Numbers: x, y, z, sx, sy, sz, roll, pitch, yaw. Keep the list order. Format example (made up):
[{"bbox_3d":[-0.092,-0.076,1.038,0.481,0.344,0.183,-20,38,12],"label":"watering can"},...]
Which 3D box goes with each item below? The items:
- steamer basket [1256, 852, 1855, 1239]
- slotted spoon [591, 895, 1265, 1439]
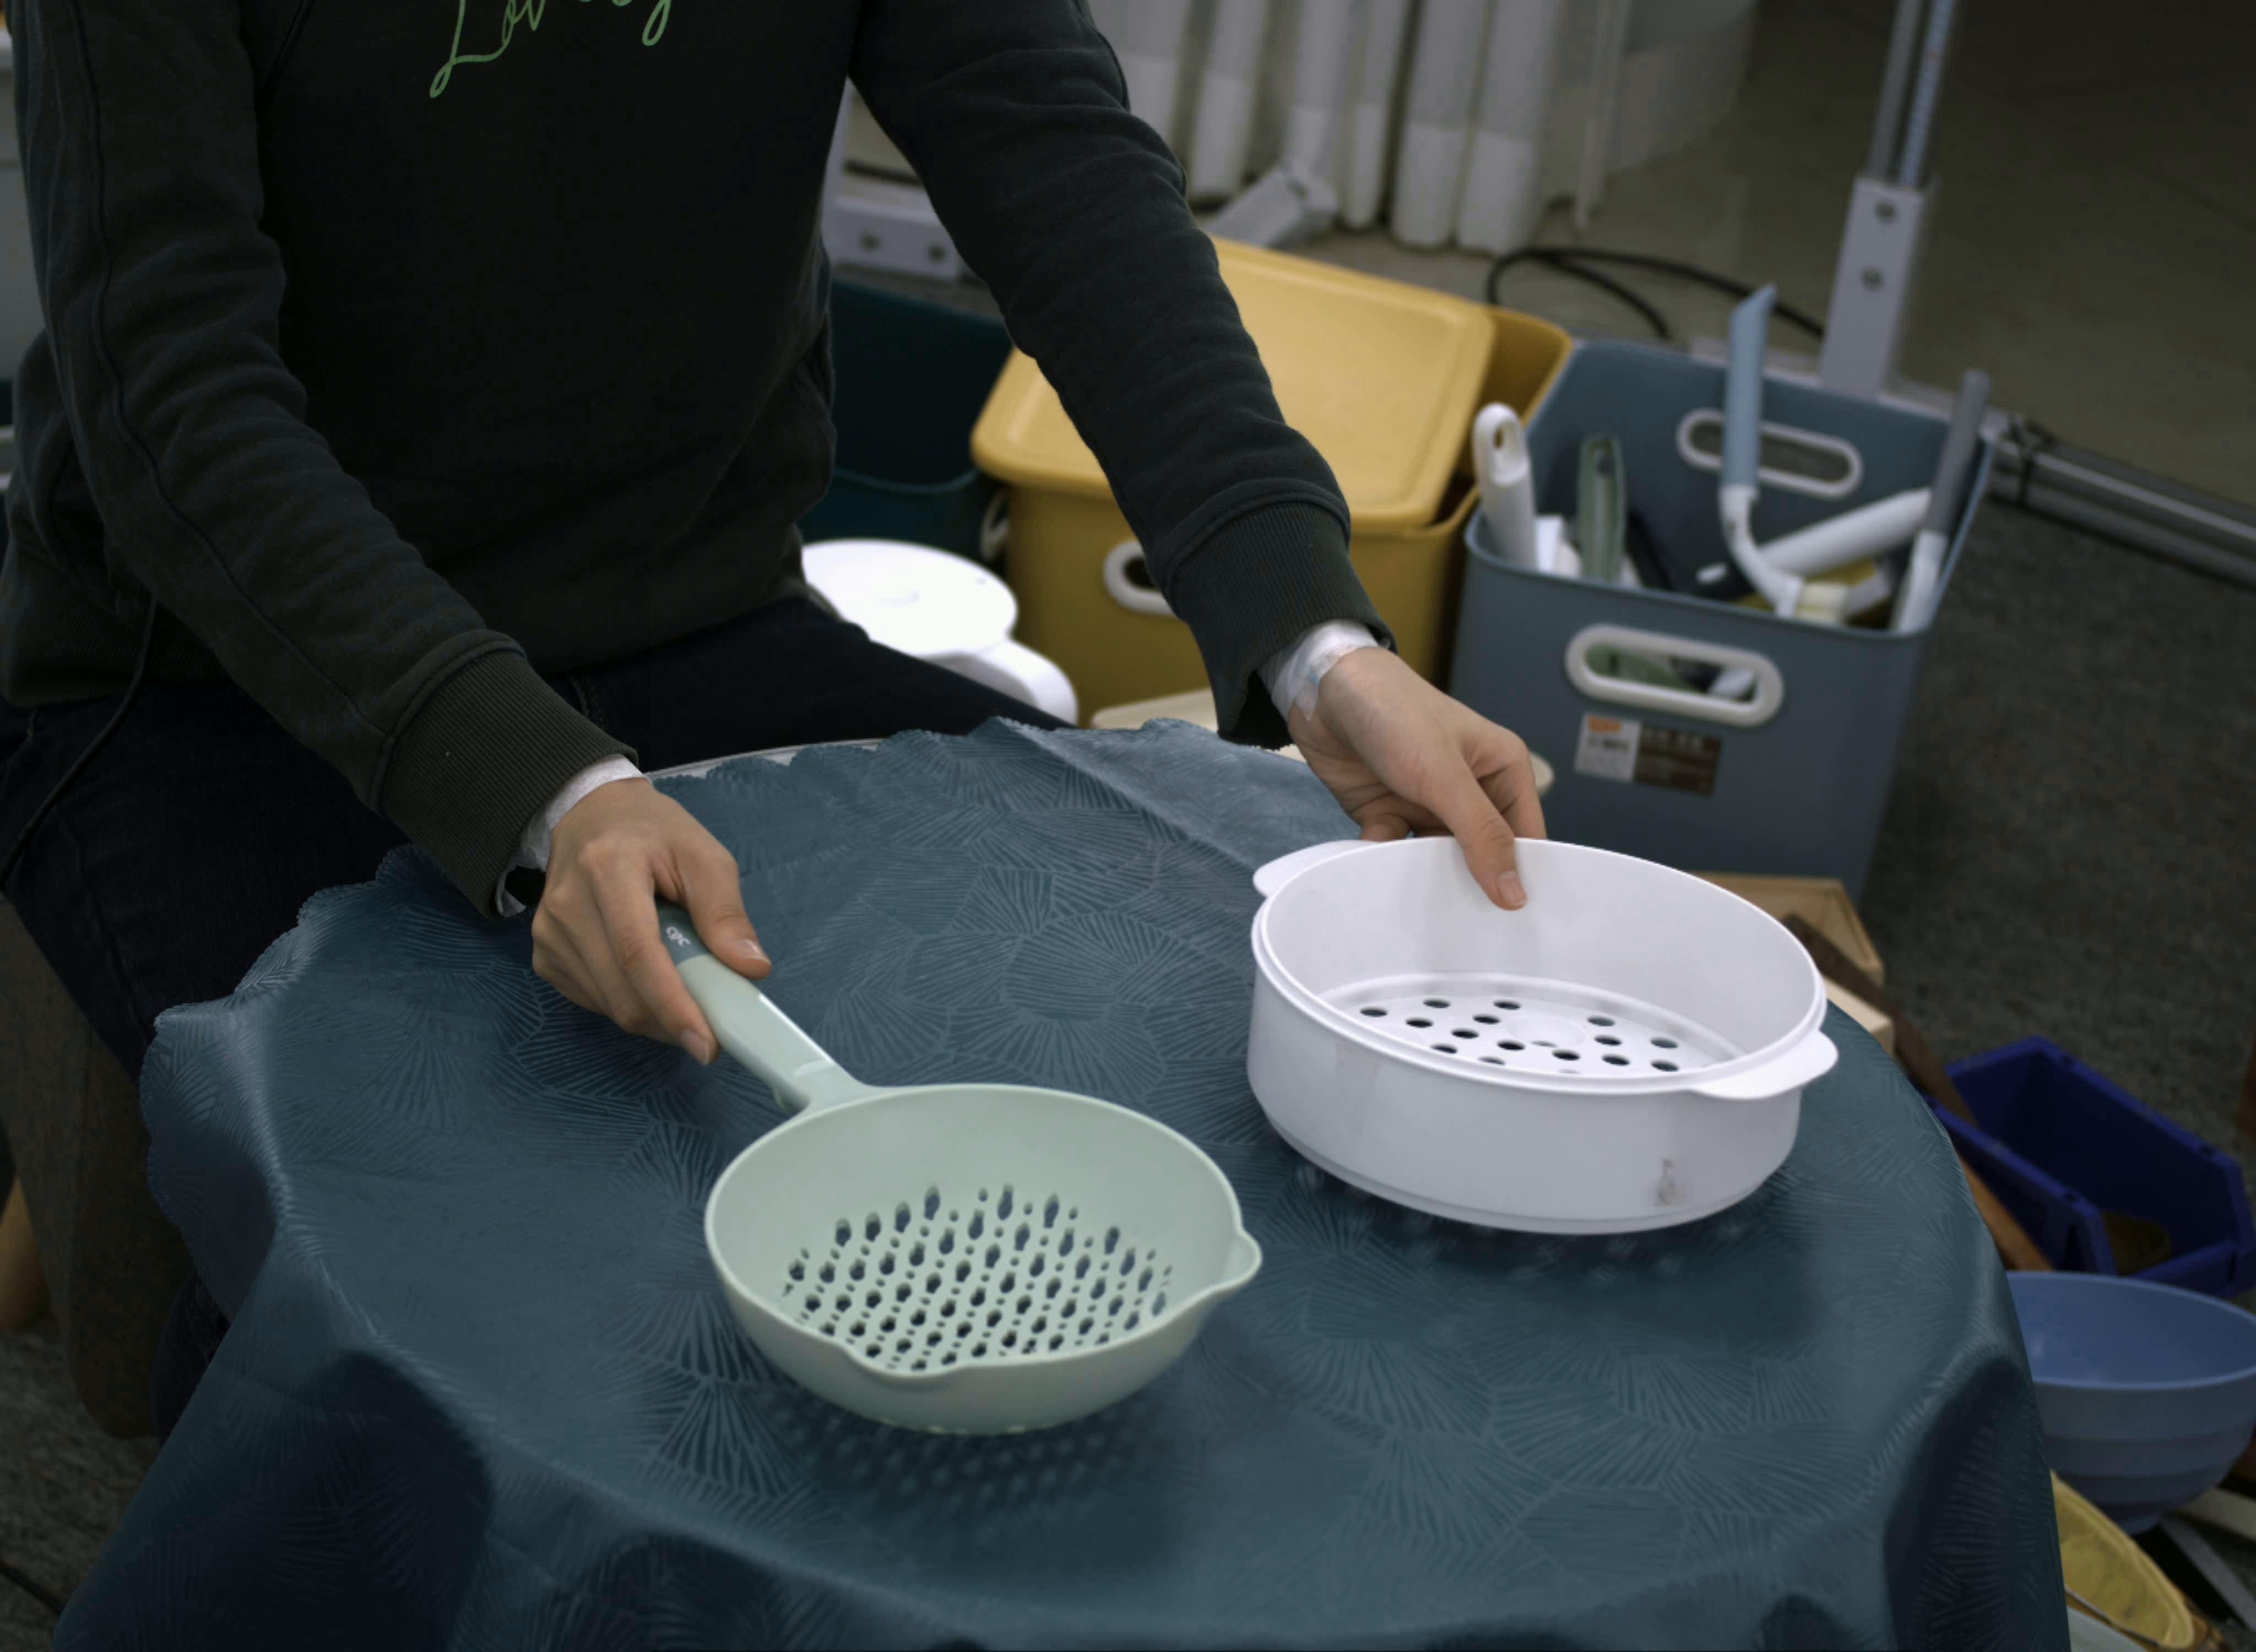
[{"bbox_3d":[0.143,0.077,1.845,0.232,0.069,0.201,23,27,37],"label":"steamer basket"},{"bbox_3d":[-0.097,0.095,1.745,0.168,0.075,0.362,-13,38,-26],"label":"slotted spoon"}]
